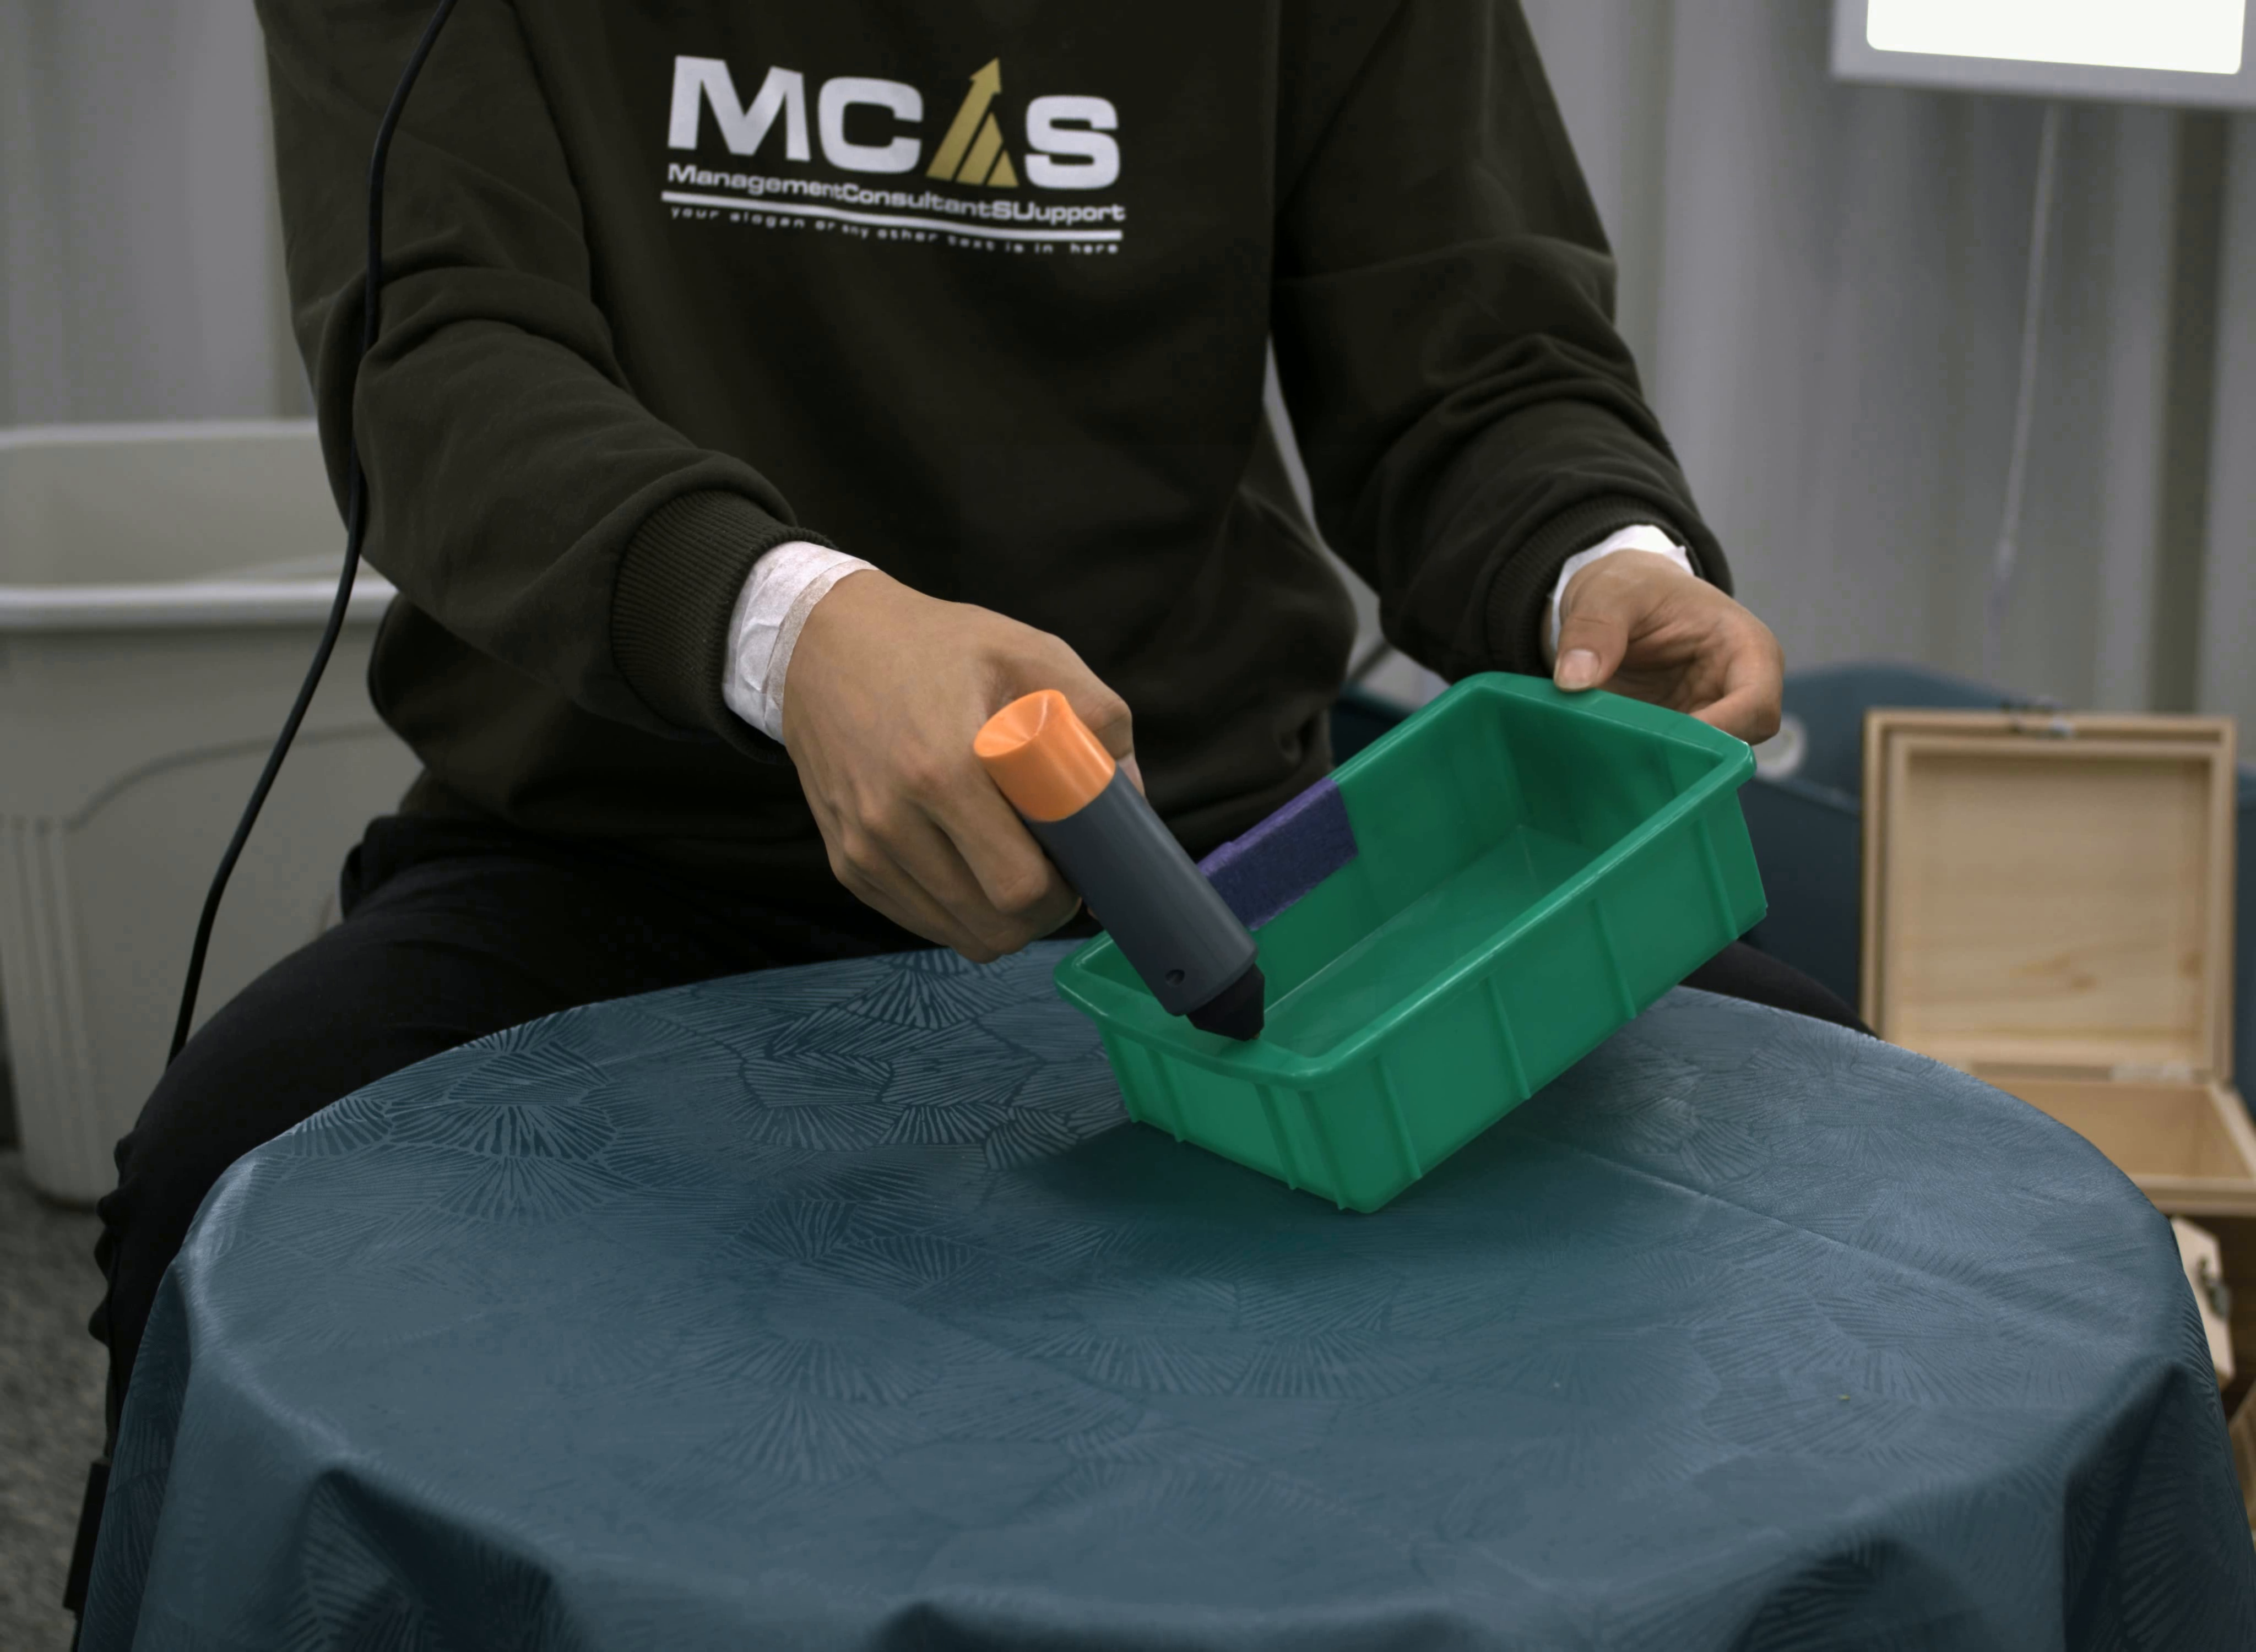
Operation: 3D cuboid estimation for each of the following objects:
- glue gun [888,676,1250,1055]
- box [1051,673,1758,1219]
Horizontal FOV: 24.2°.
[{"bbox_3d":[-0.017,0.007,1.622,0.041,0.119,0.138,-33,26,-17],"label":"glue gun"},{"bbox_3d":[0.094,0.038,1.675,0.210,0.066,0.137,-37,32,-27],"label":"box"}]
